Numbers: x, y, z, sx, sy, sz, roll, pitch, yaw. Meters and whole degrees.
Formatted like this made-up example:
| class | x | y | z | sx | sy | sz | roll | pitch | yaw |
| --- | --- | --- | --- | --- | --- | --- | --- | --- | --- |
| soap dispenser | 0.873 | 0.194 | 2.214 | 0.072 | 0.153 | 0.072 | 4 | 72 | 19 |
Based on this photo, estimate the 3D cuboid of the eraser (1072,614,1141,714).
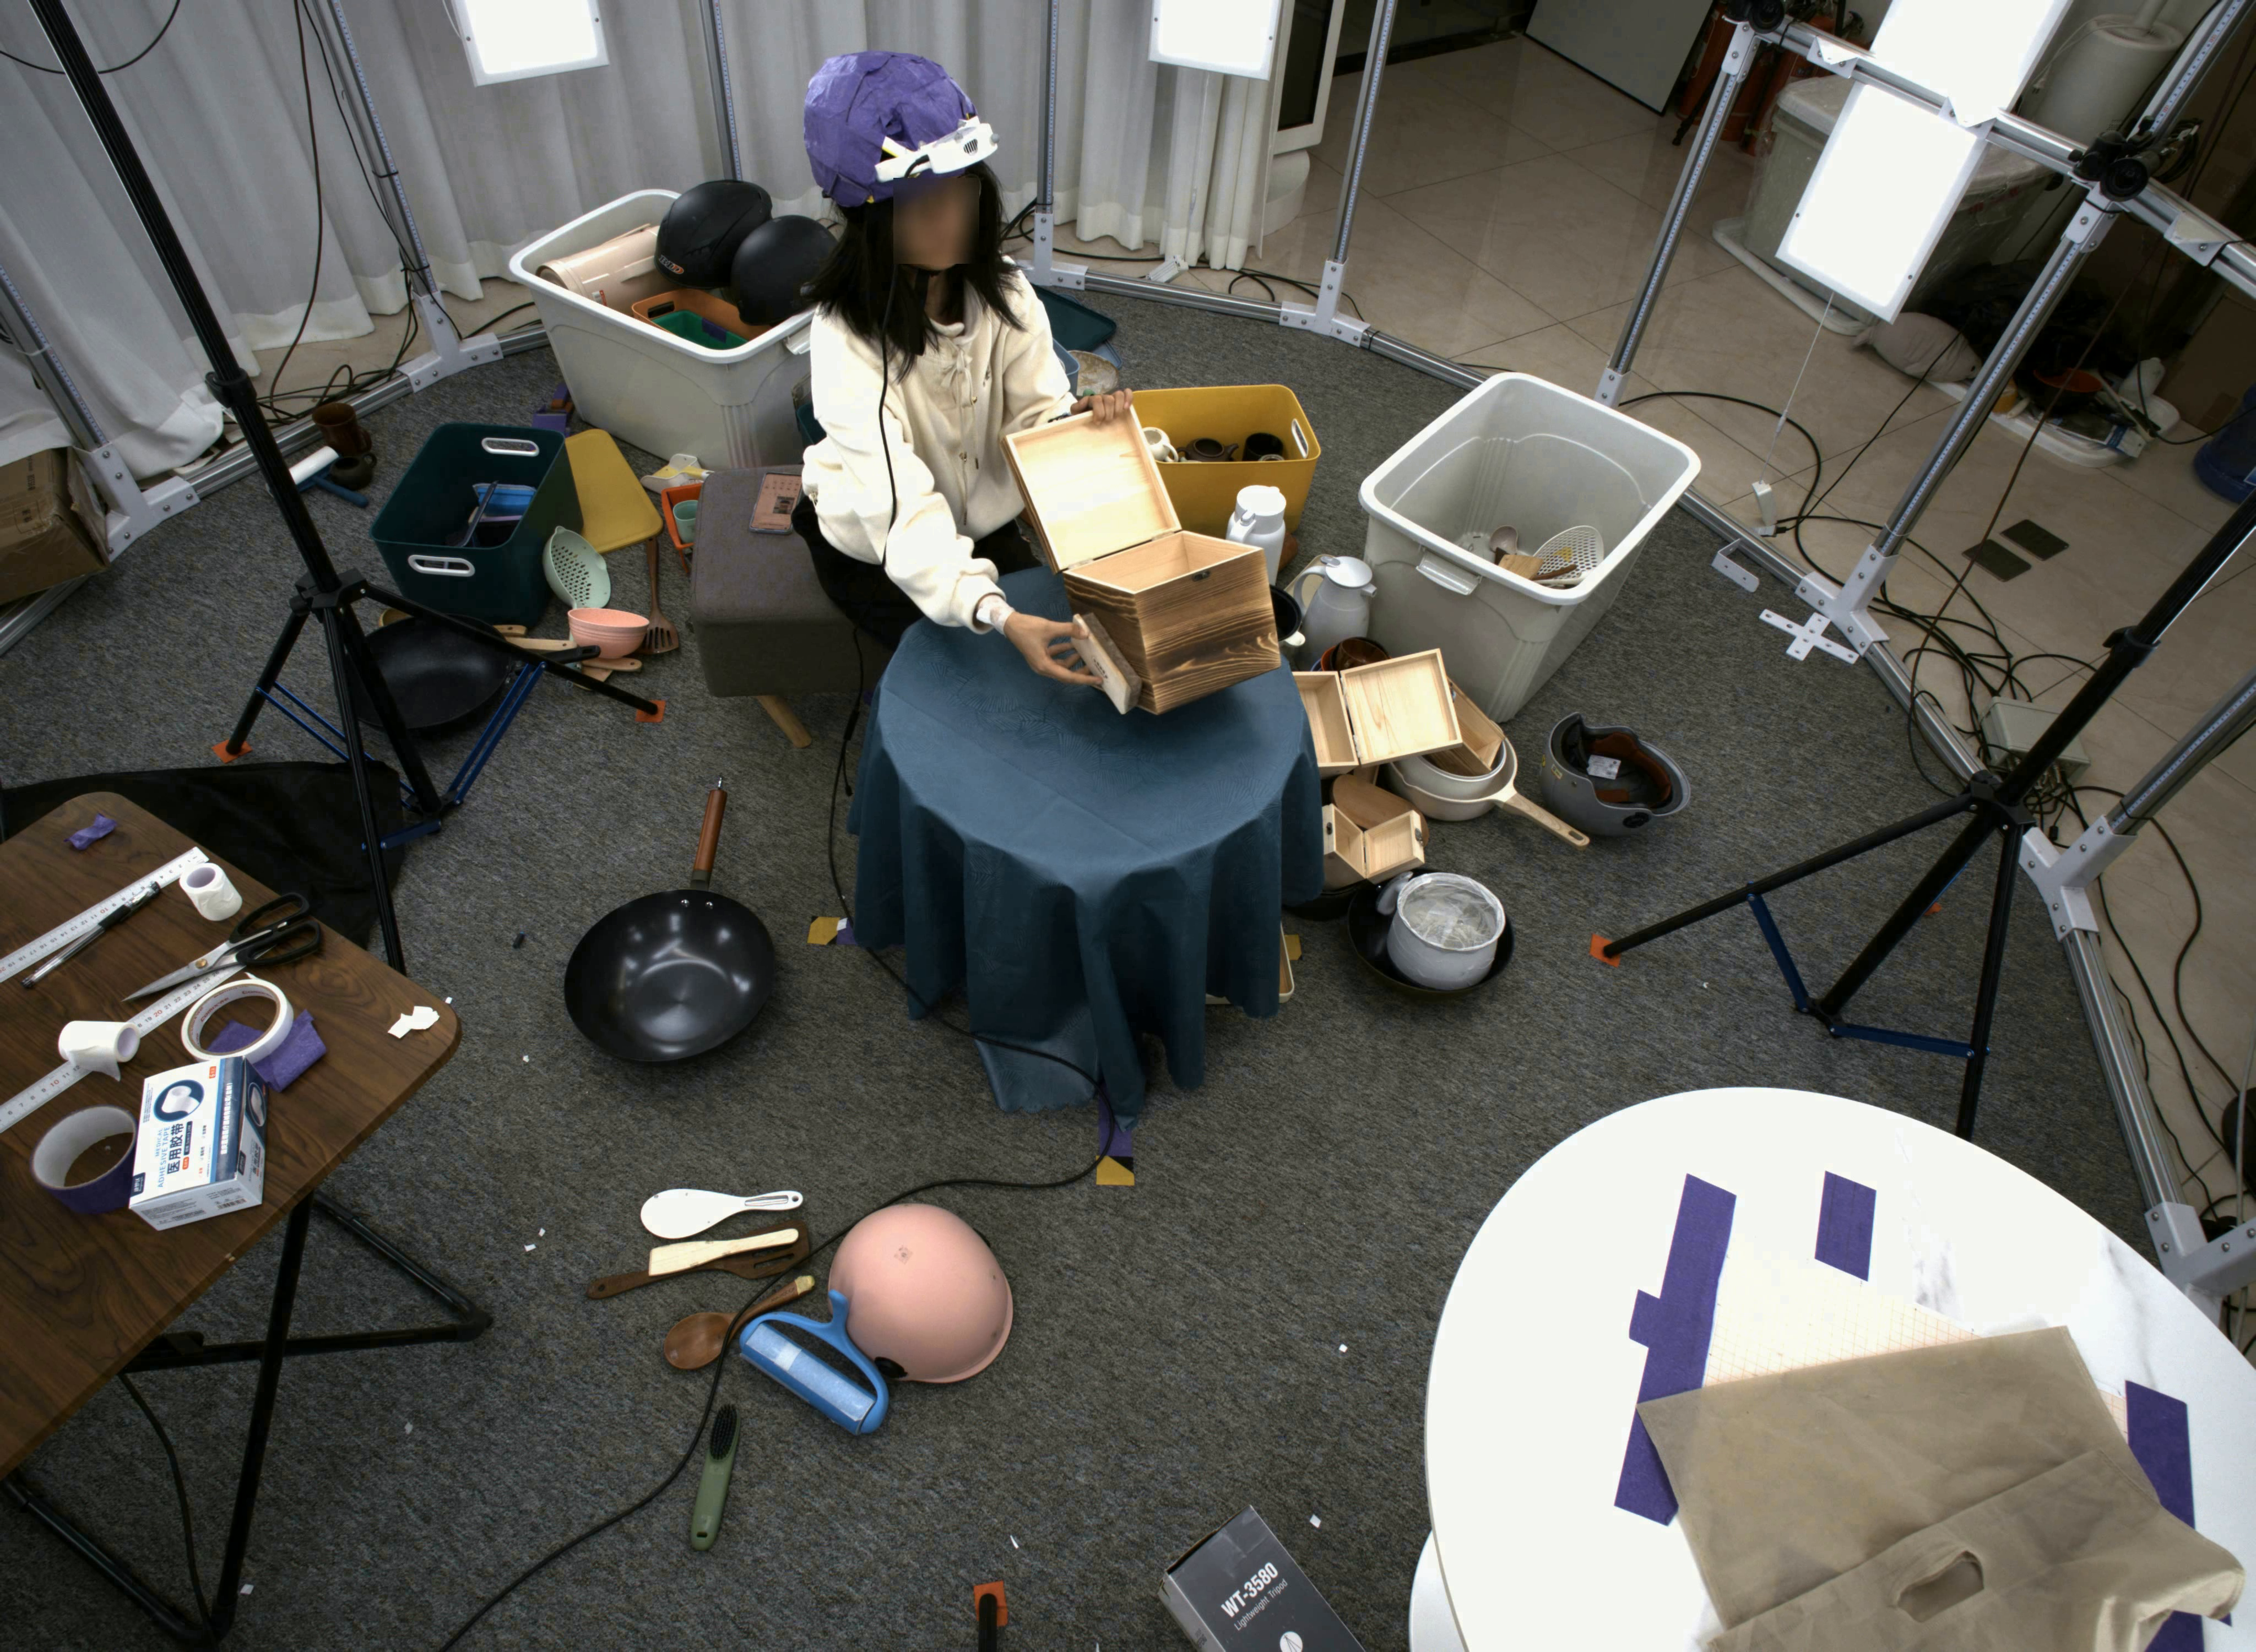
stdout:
| class | x | y | z | sx | sy | sz | roll | pitch | yaw |
| --- | --- | --- | --- | --- | --- | --- | --- | --- | --- |
| eraser | -0.030 | -0.221 | 1.723 | 0.029 | 0.056 | 0.142 | -22 | 63 | -19 |

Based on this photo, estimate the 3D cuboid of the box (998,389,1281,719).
| class | x | y | z | sx | sy | sz | roll | pitch | yaw |
| --- | --- | --- | --- | --- | --- | --- | --- | --- | --- |
| box | 0.014 | -0.385 | 1.768 | 0.209 | 0.368 | 0.327 | -24 | 27 | -22 |
